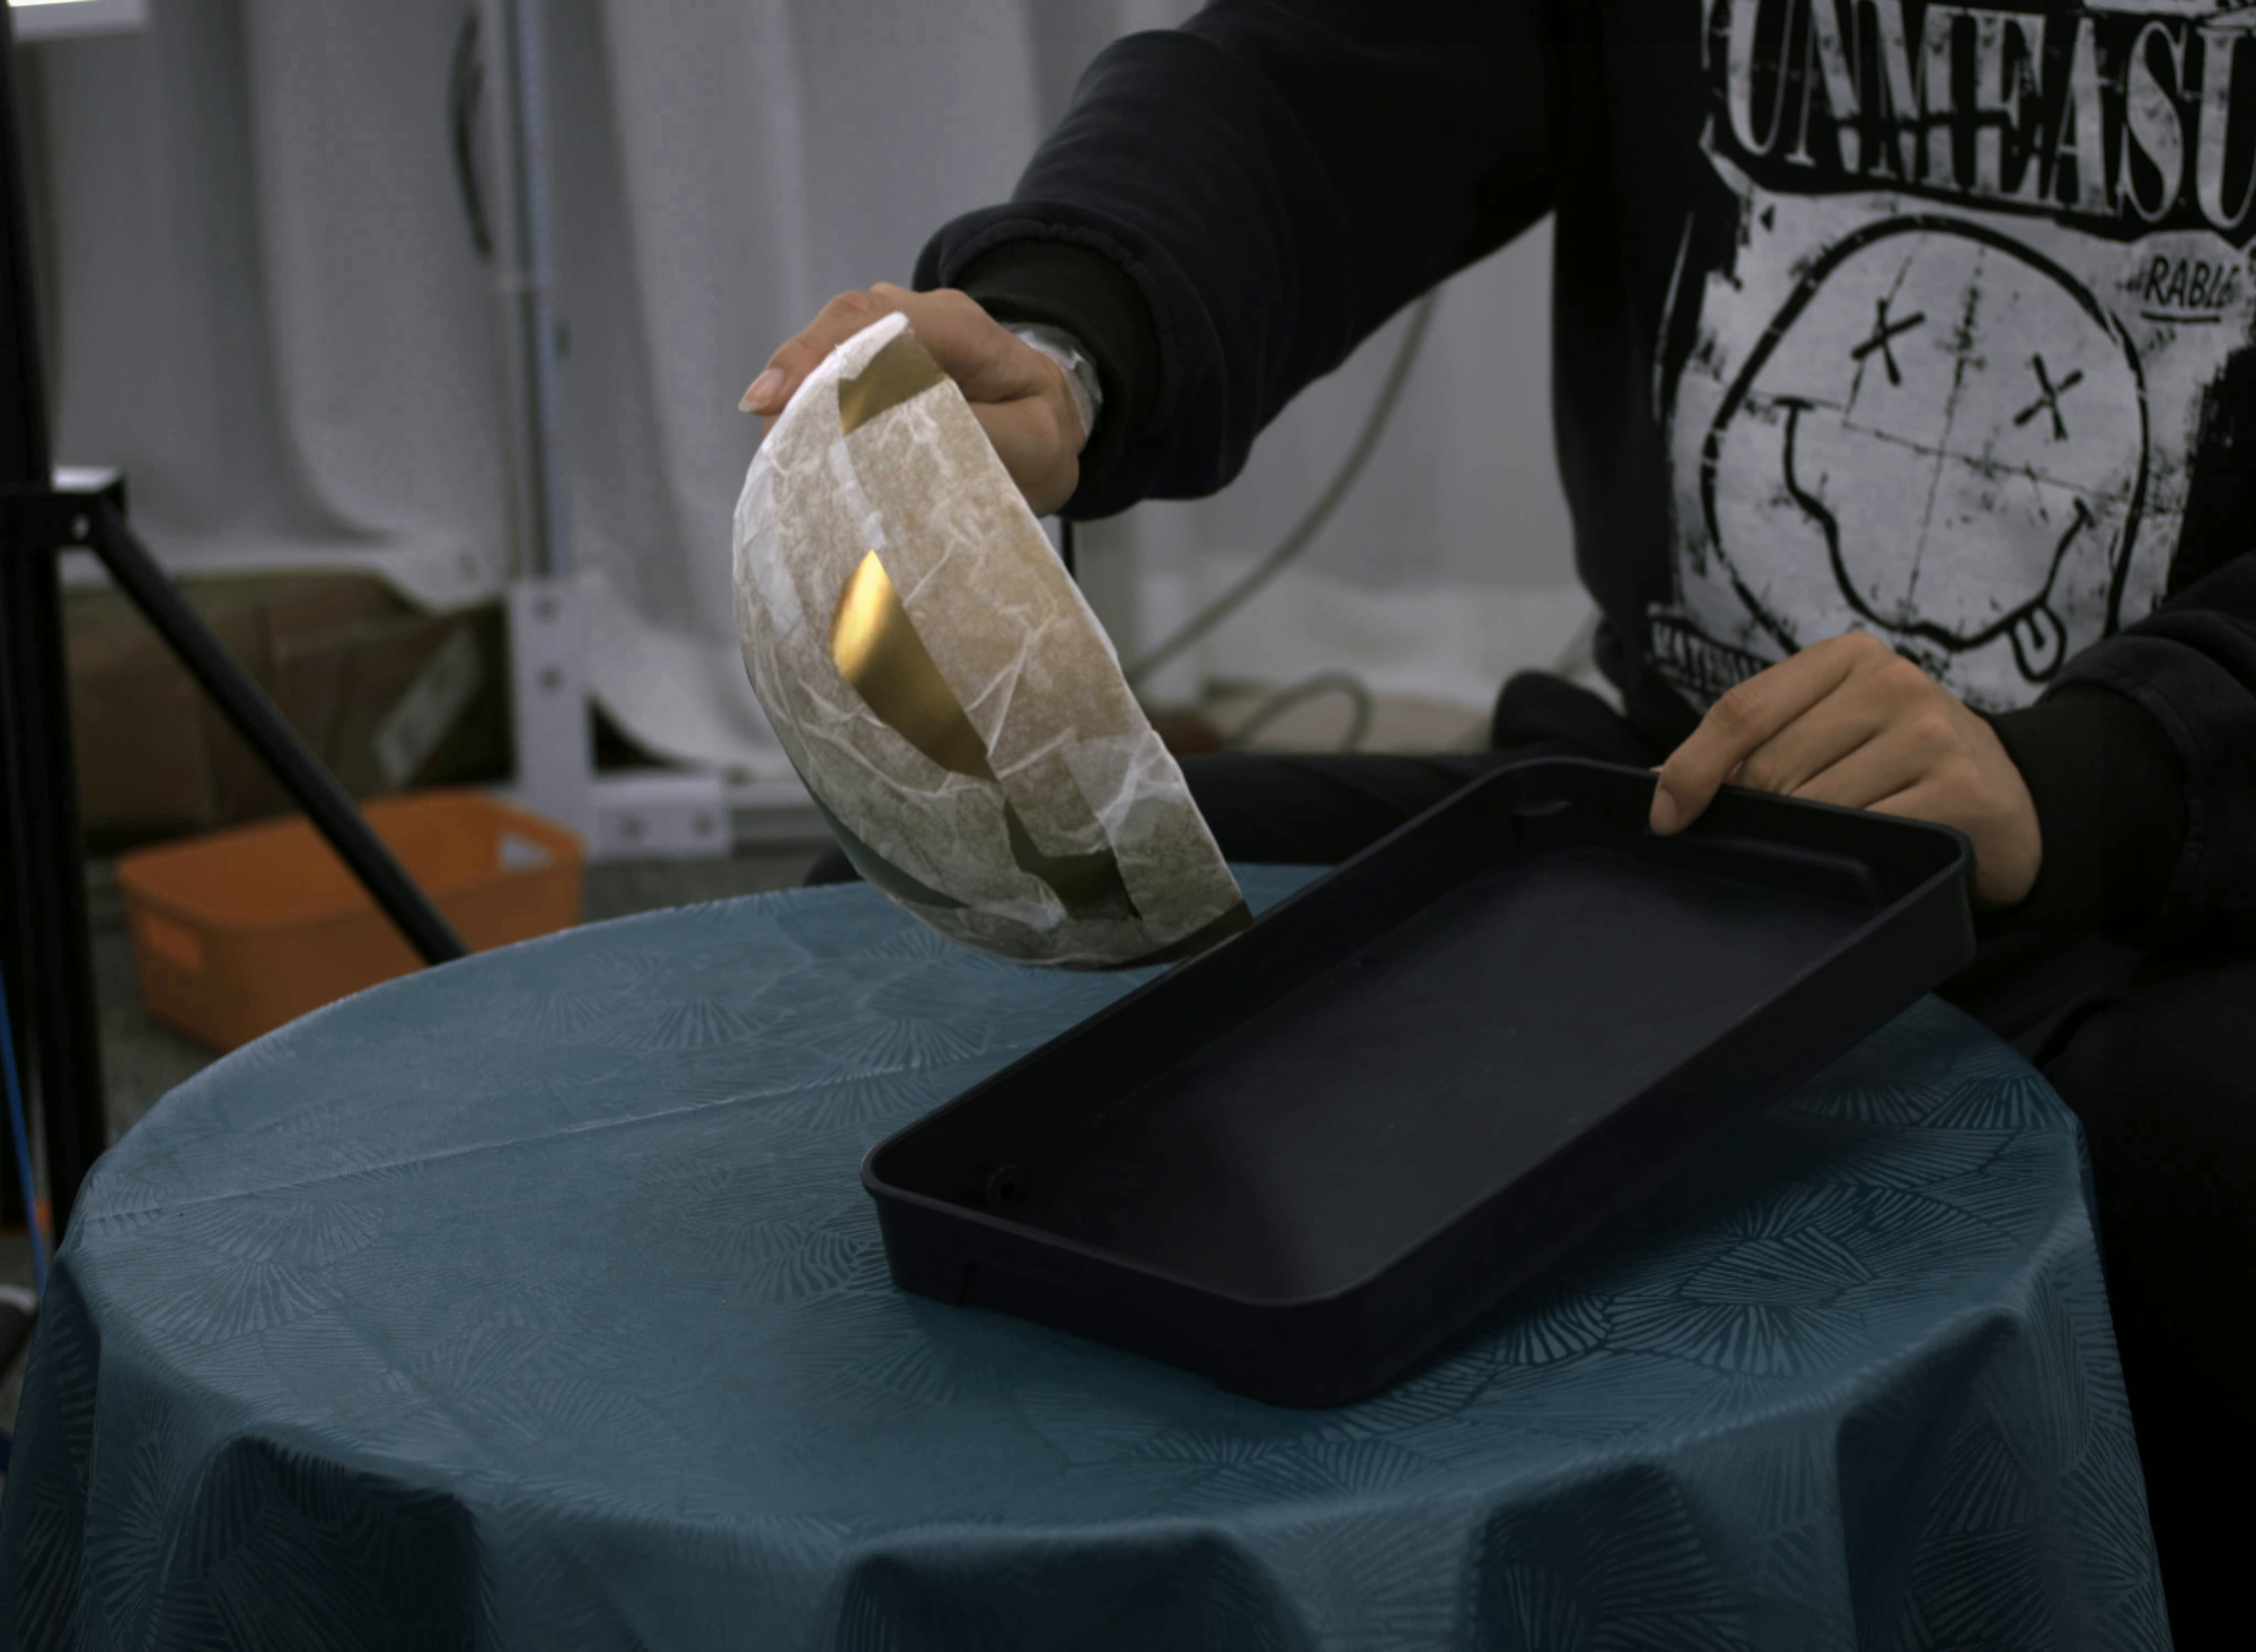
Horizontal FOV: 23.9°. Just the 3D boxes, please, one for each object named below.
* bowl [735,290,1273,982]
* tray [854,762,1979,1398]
[{"bbox_3d":[-0.049,-0.035,1.492,0.094,0.213,0.217,-30,18,0],"label":"bowl"},{"bbox_3d":[0.089,0.065,1.526,0.188,0.037,0.312,11,31,45],"label":"tray"}]
